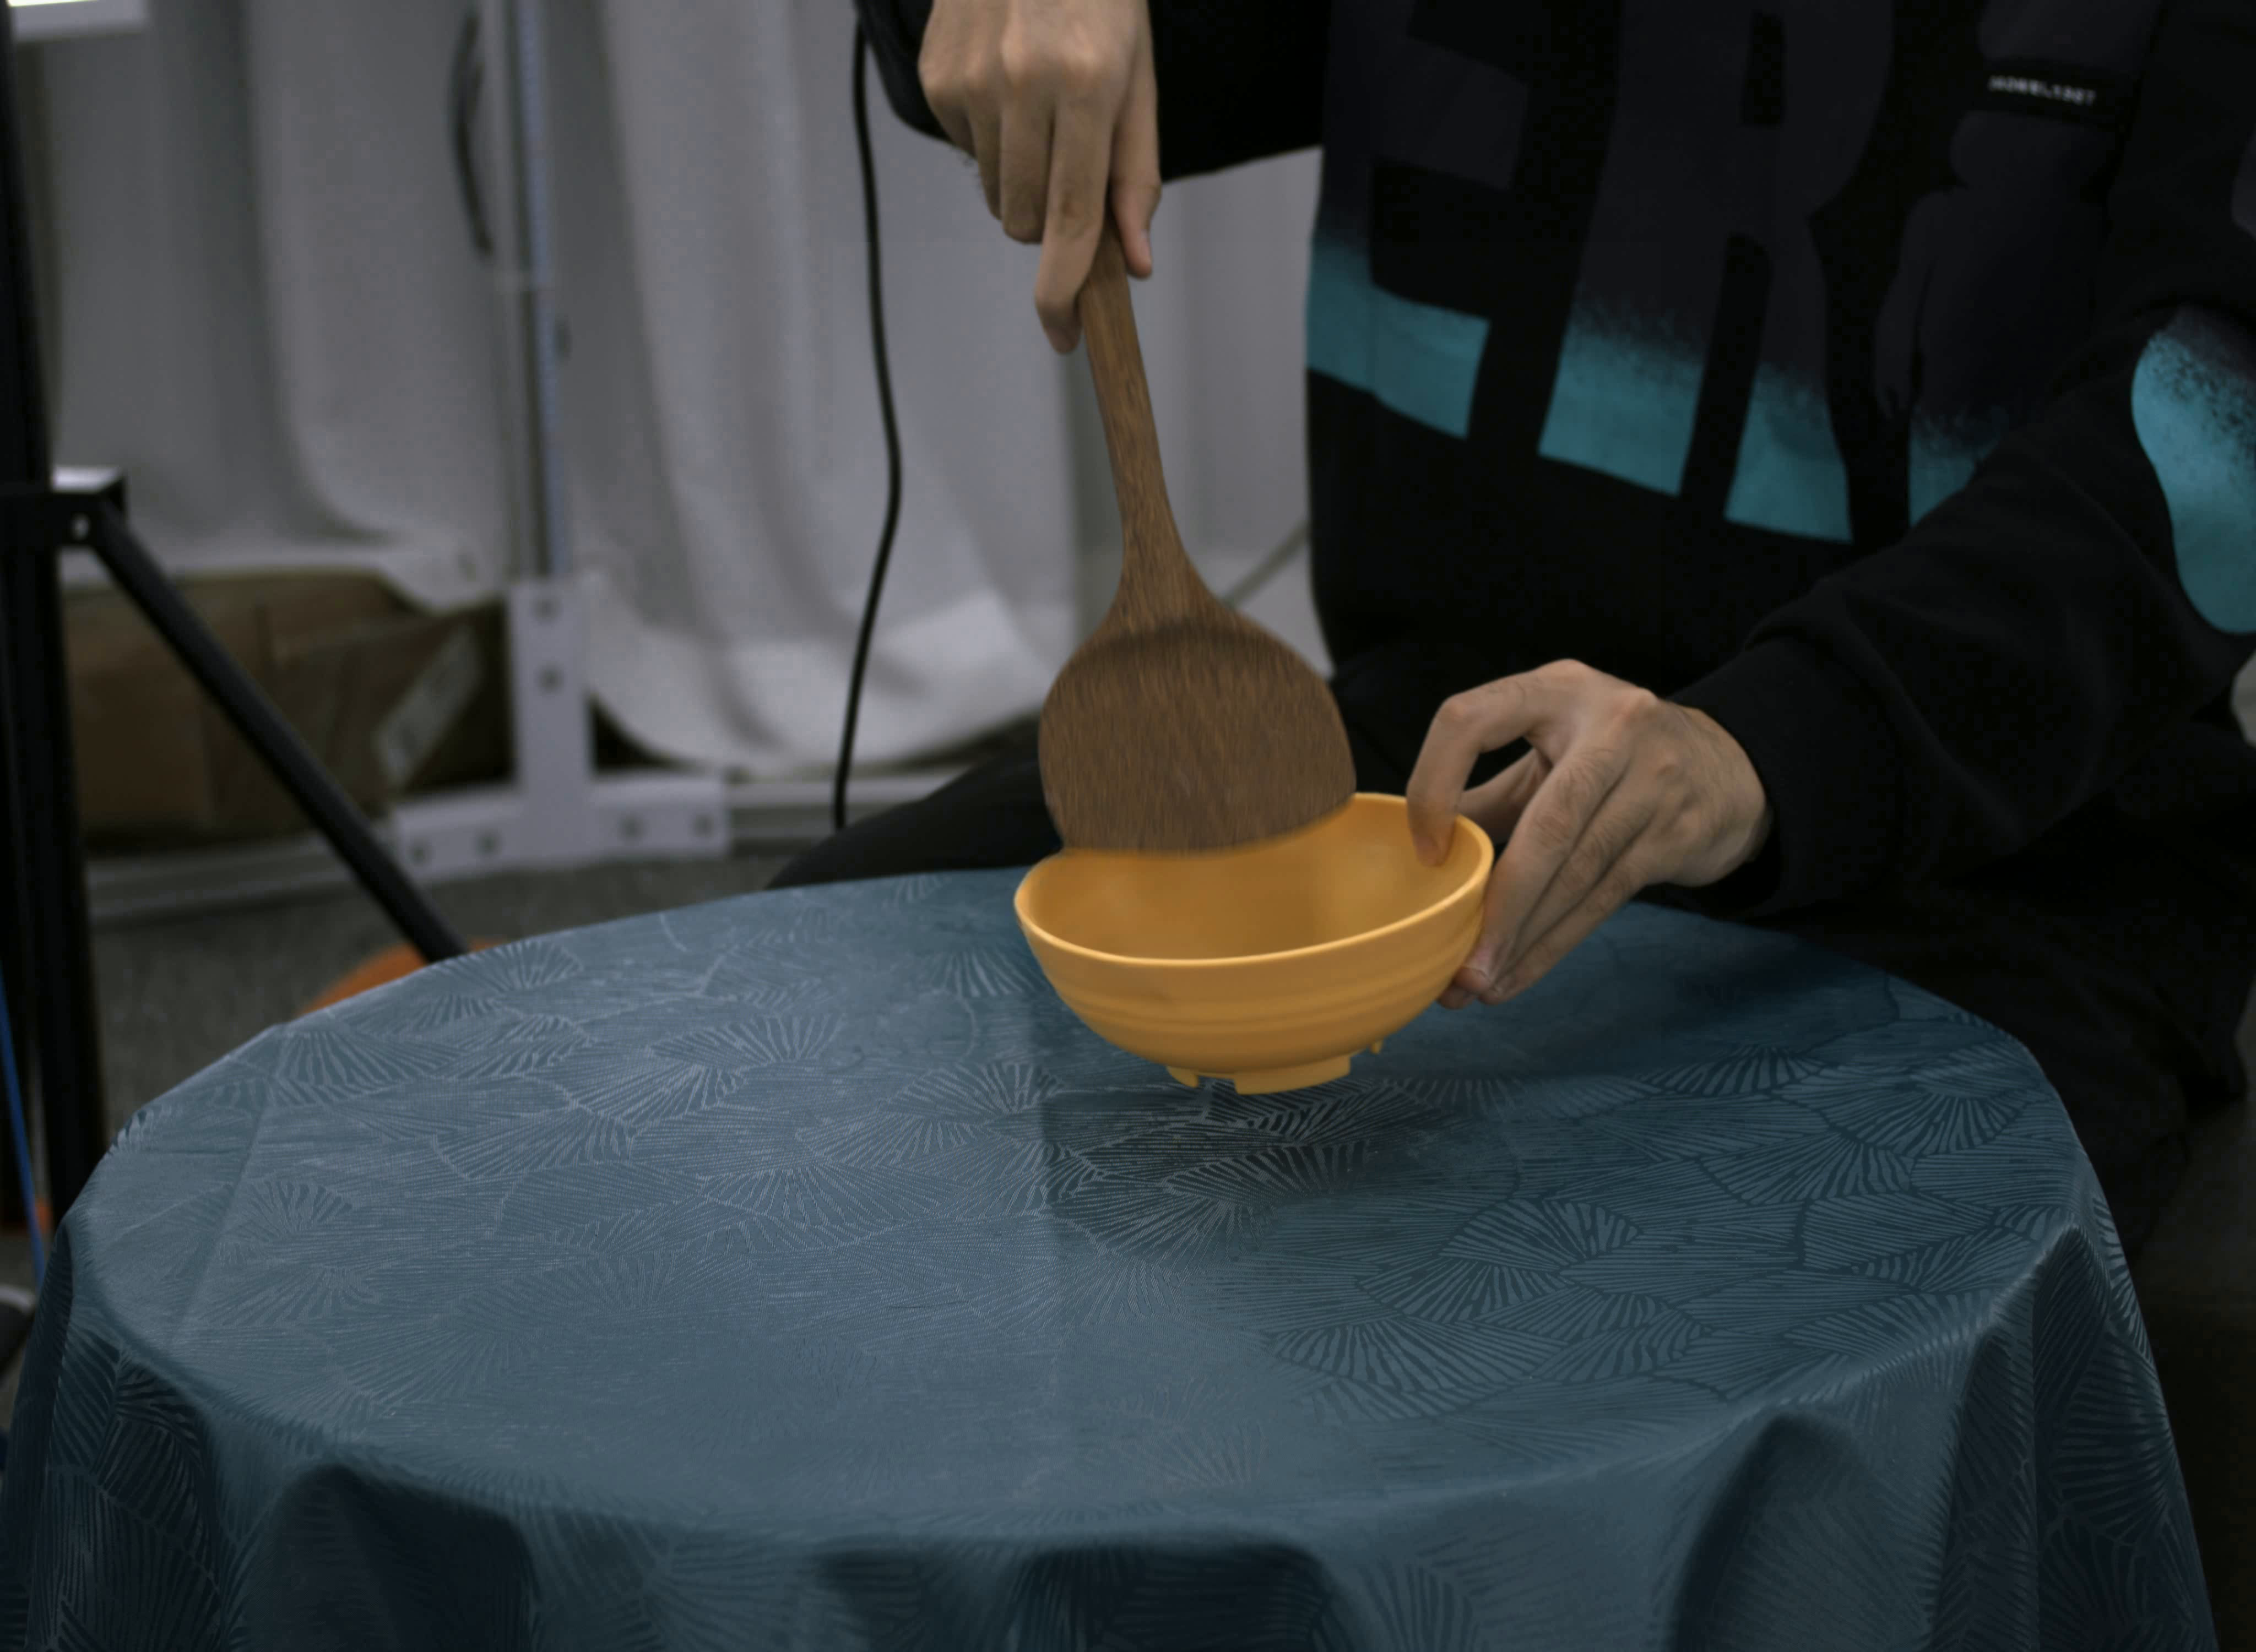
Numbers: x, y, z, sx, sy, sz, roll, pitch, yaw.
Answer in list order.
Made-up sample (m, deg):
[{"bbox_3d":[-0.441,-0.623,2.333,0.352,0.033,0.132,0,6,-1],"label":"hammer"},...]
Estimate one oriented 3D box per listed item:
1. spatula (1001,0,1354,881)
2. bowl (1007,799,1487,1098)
[{"bbox_3d":[-0.003,-0.140,1.701,0.095,0.015,0.391,-7,54,-4],"label":"spatula"},{"bbox_3d":[0.037,0.043,1.599,0.144,0.060,0.146,-5,19,0],"label":"bowl"}]
